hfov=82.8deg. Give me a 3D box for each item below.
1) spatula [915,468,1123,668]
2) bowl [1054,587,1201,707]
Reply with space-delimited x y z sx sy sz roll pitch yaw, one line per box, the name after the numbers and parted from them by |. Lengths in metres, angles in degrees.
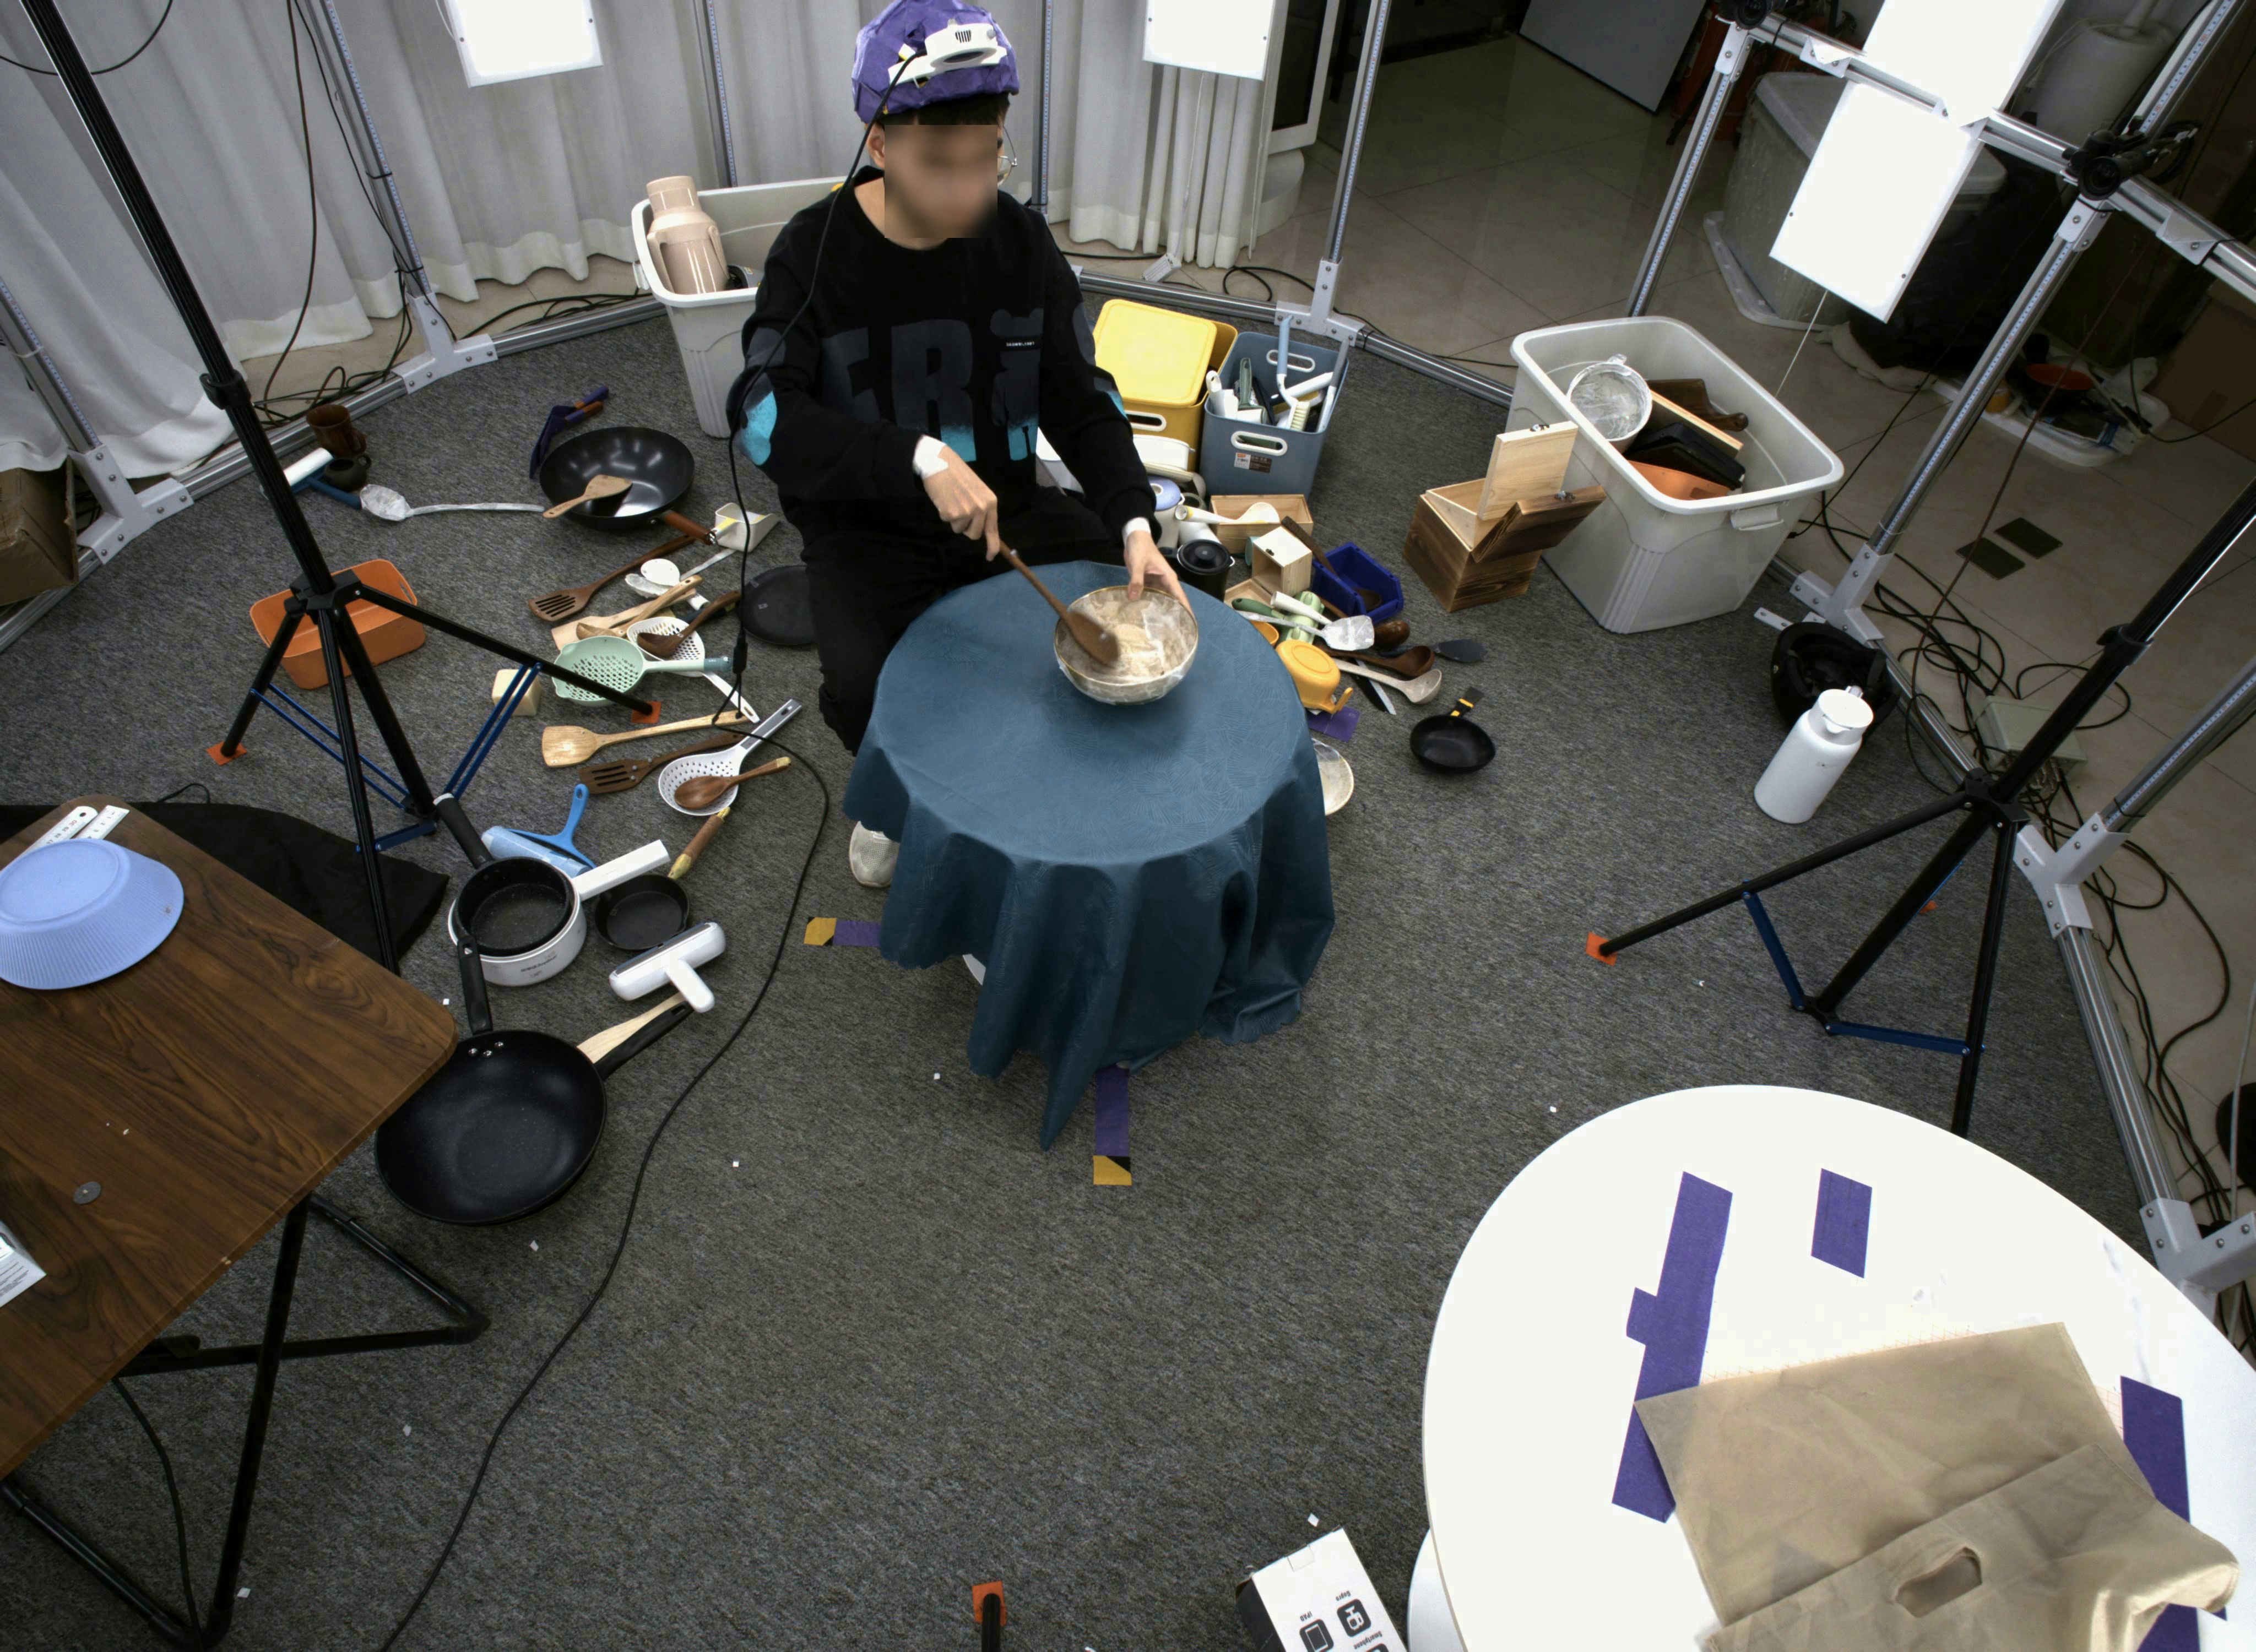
-0.144 -0.357 1.782 0.381 0.015 0.098 41 32 -21 | spatula
0.002 -0.240 1.825 0.214 0.092 0.220 -3 48 3 | bowl
